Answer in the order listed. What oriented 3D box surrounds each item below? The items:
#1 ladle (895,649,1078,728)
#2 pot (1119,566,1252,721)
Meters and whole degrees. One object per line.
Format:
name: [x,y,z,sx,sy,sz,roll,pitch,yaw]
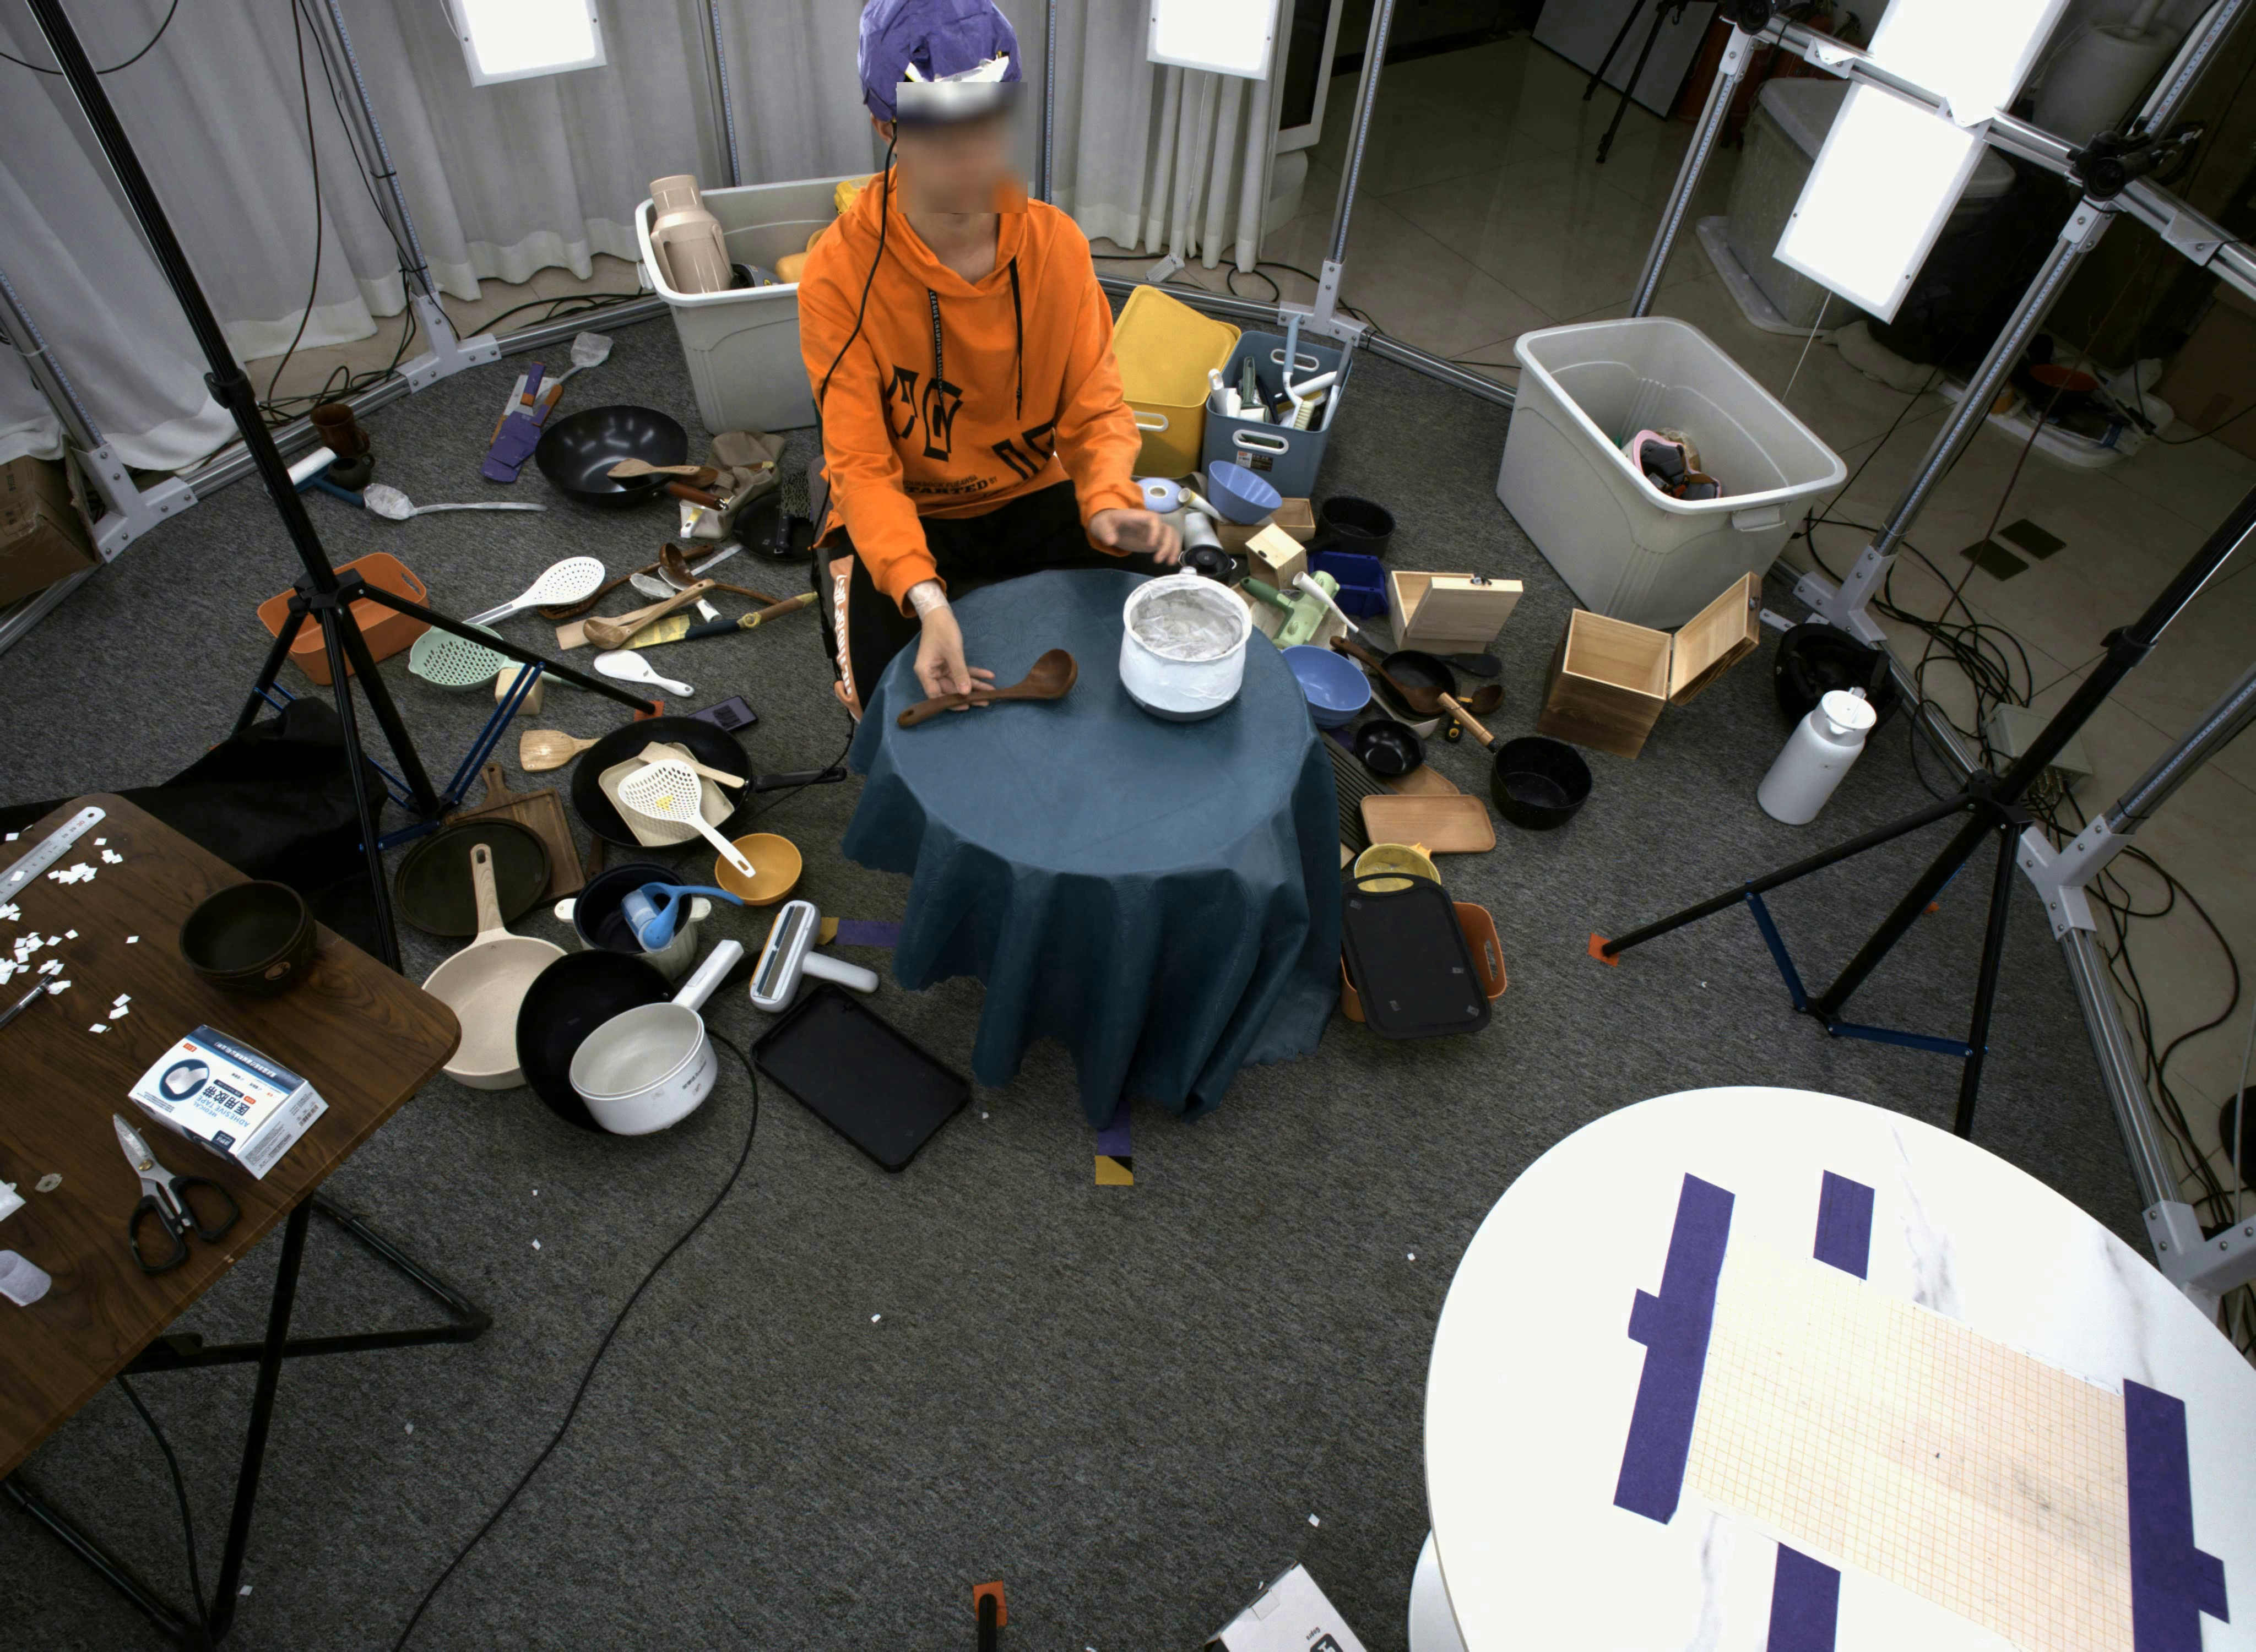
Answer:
ladle: [-0.195,-0.189,1.778,0.260,0.063,0.078,-13,47,-15]
pot: [0.078,-0.267,1.817,0.178,0.133,0.239,3,49,-2]
